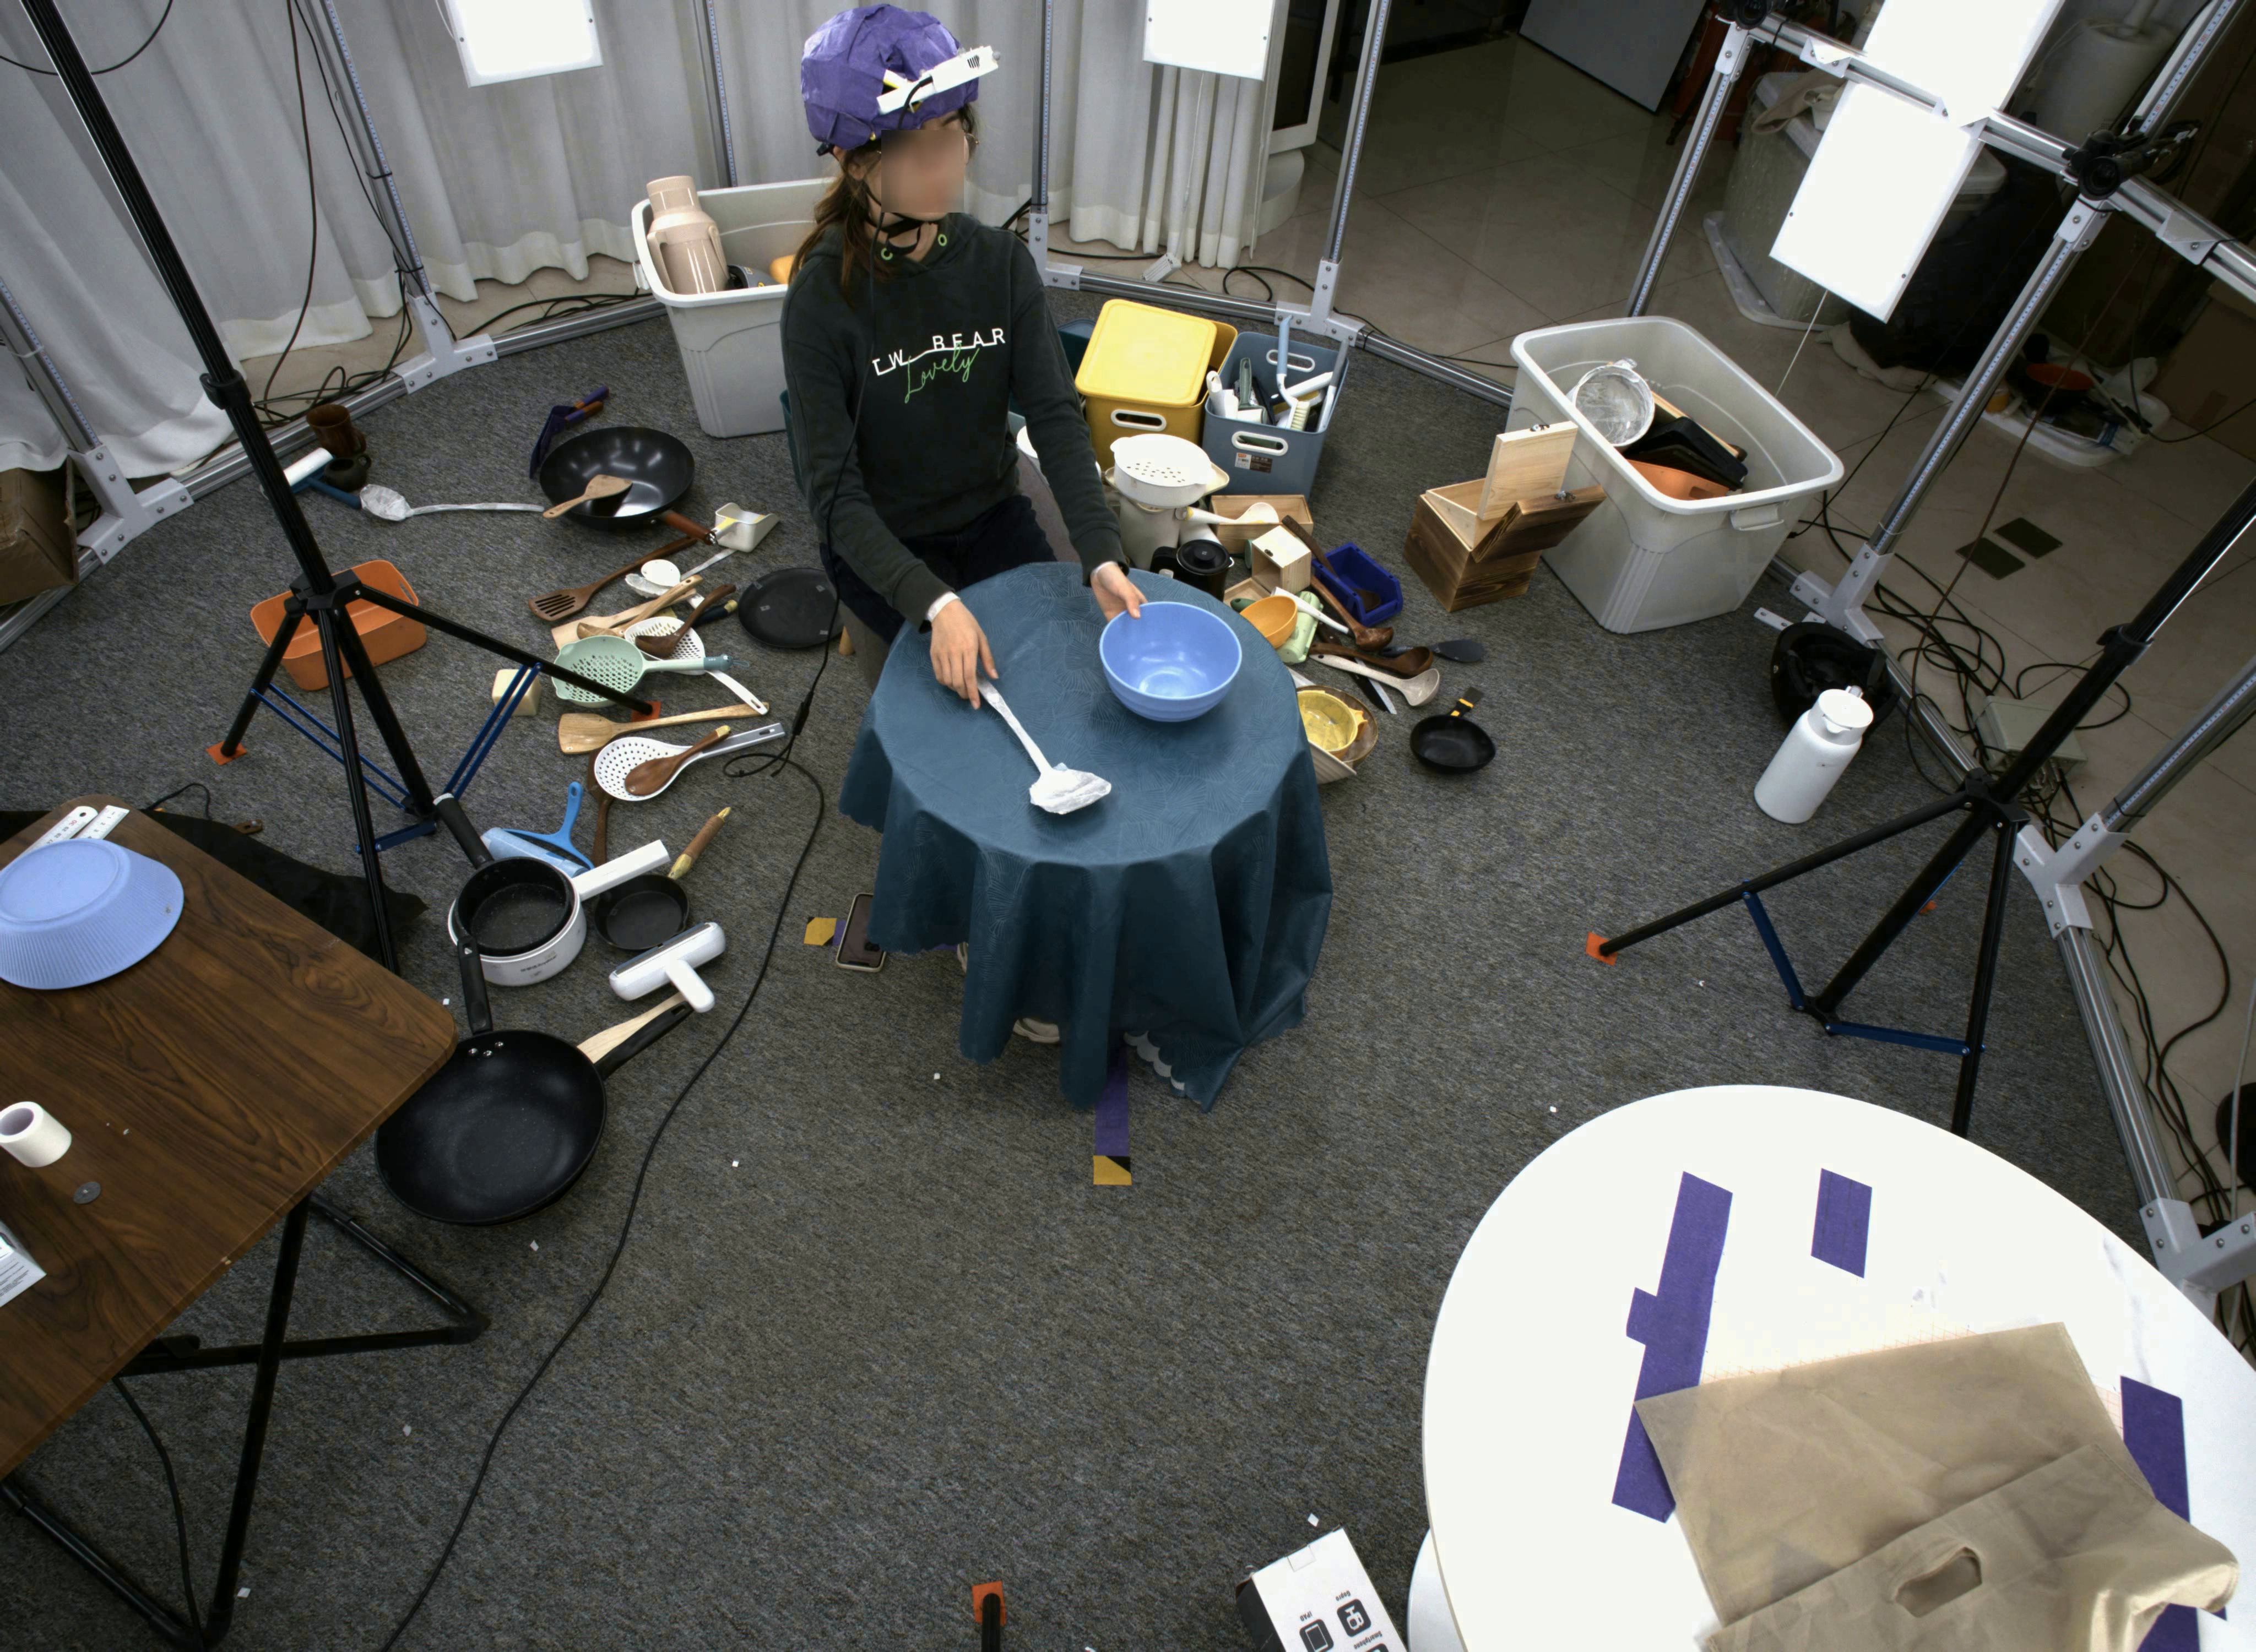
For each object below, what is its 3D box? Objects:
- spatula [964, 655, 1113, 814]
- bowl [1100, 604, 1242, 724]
[{"bbox_3d":[-0.146,-0.137,1.768,0.099,0.043,0.372,-23,54,-20],"label":"spatula"},{"bbox_3d":[0.057,-0.214,1.813,0.196,0.093,0.201,1,50,-2],"label":"bowl"}]
